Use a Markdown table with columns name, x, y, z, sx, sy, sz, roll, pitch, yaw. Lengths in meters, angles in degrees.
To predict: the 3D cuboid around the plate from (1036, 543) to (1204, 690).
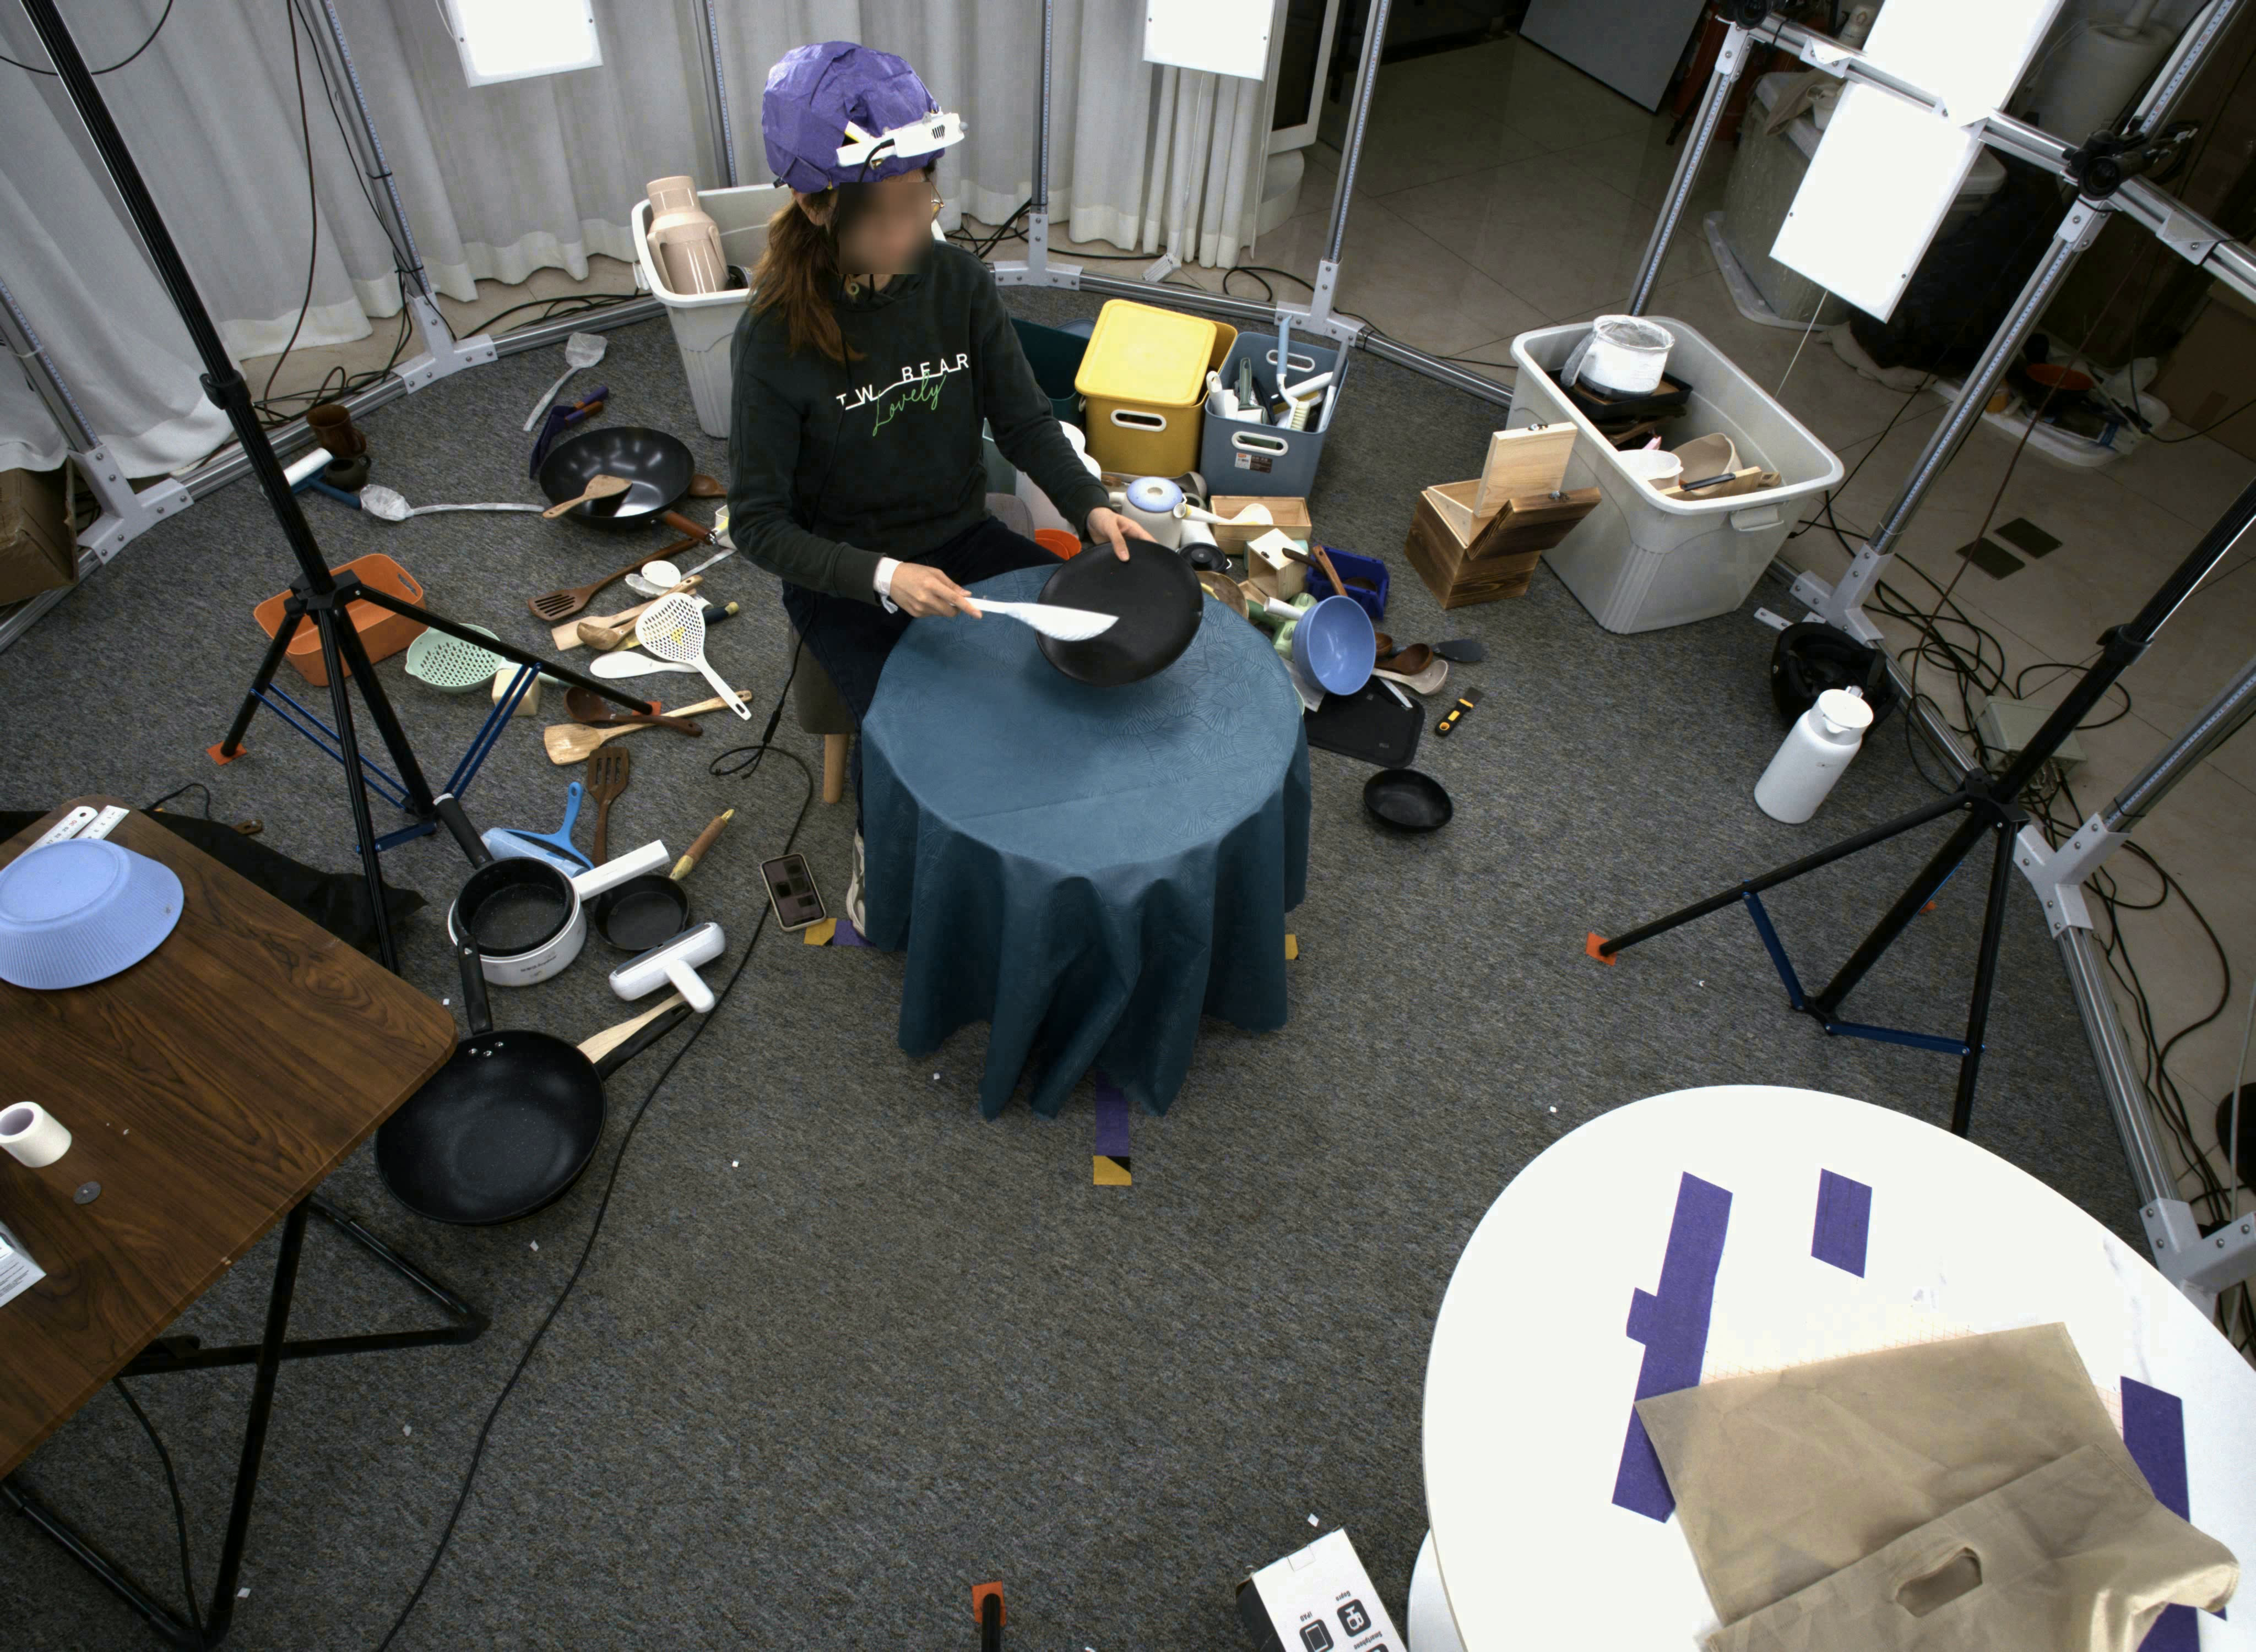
| name | x | y | z | sx | sy | sz | roll | pitch | yaw |
| --- | --- | --- | --- | --- | --- | --- | --- | --- | --- |
| plate | -0.011 | -0.296 | 1.826 | 0.244 | 0.023 | 0.249 | -5 | 63 | 11 |

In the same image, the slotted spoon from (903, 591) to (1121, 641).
| name | x | y | z | sx | sy | sz | roll | pitch | yaw |
| --- | --- | --- | --- | --- | --- | --- | --- | --- | --- |
| slotted spoon | -0.171 | -0.303 | 1.791 | 0.353 | 0.045 | 0.135 | 17 | 8 | 29 |
